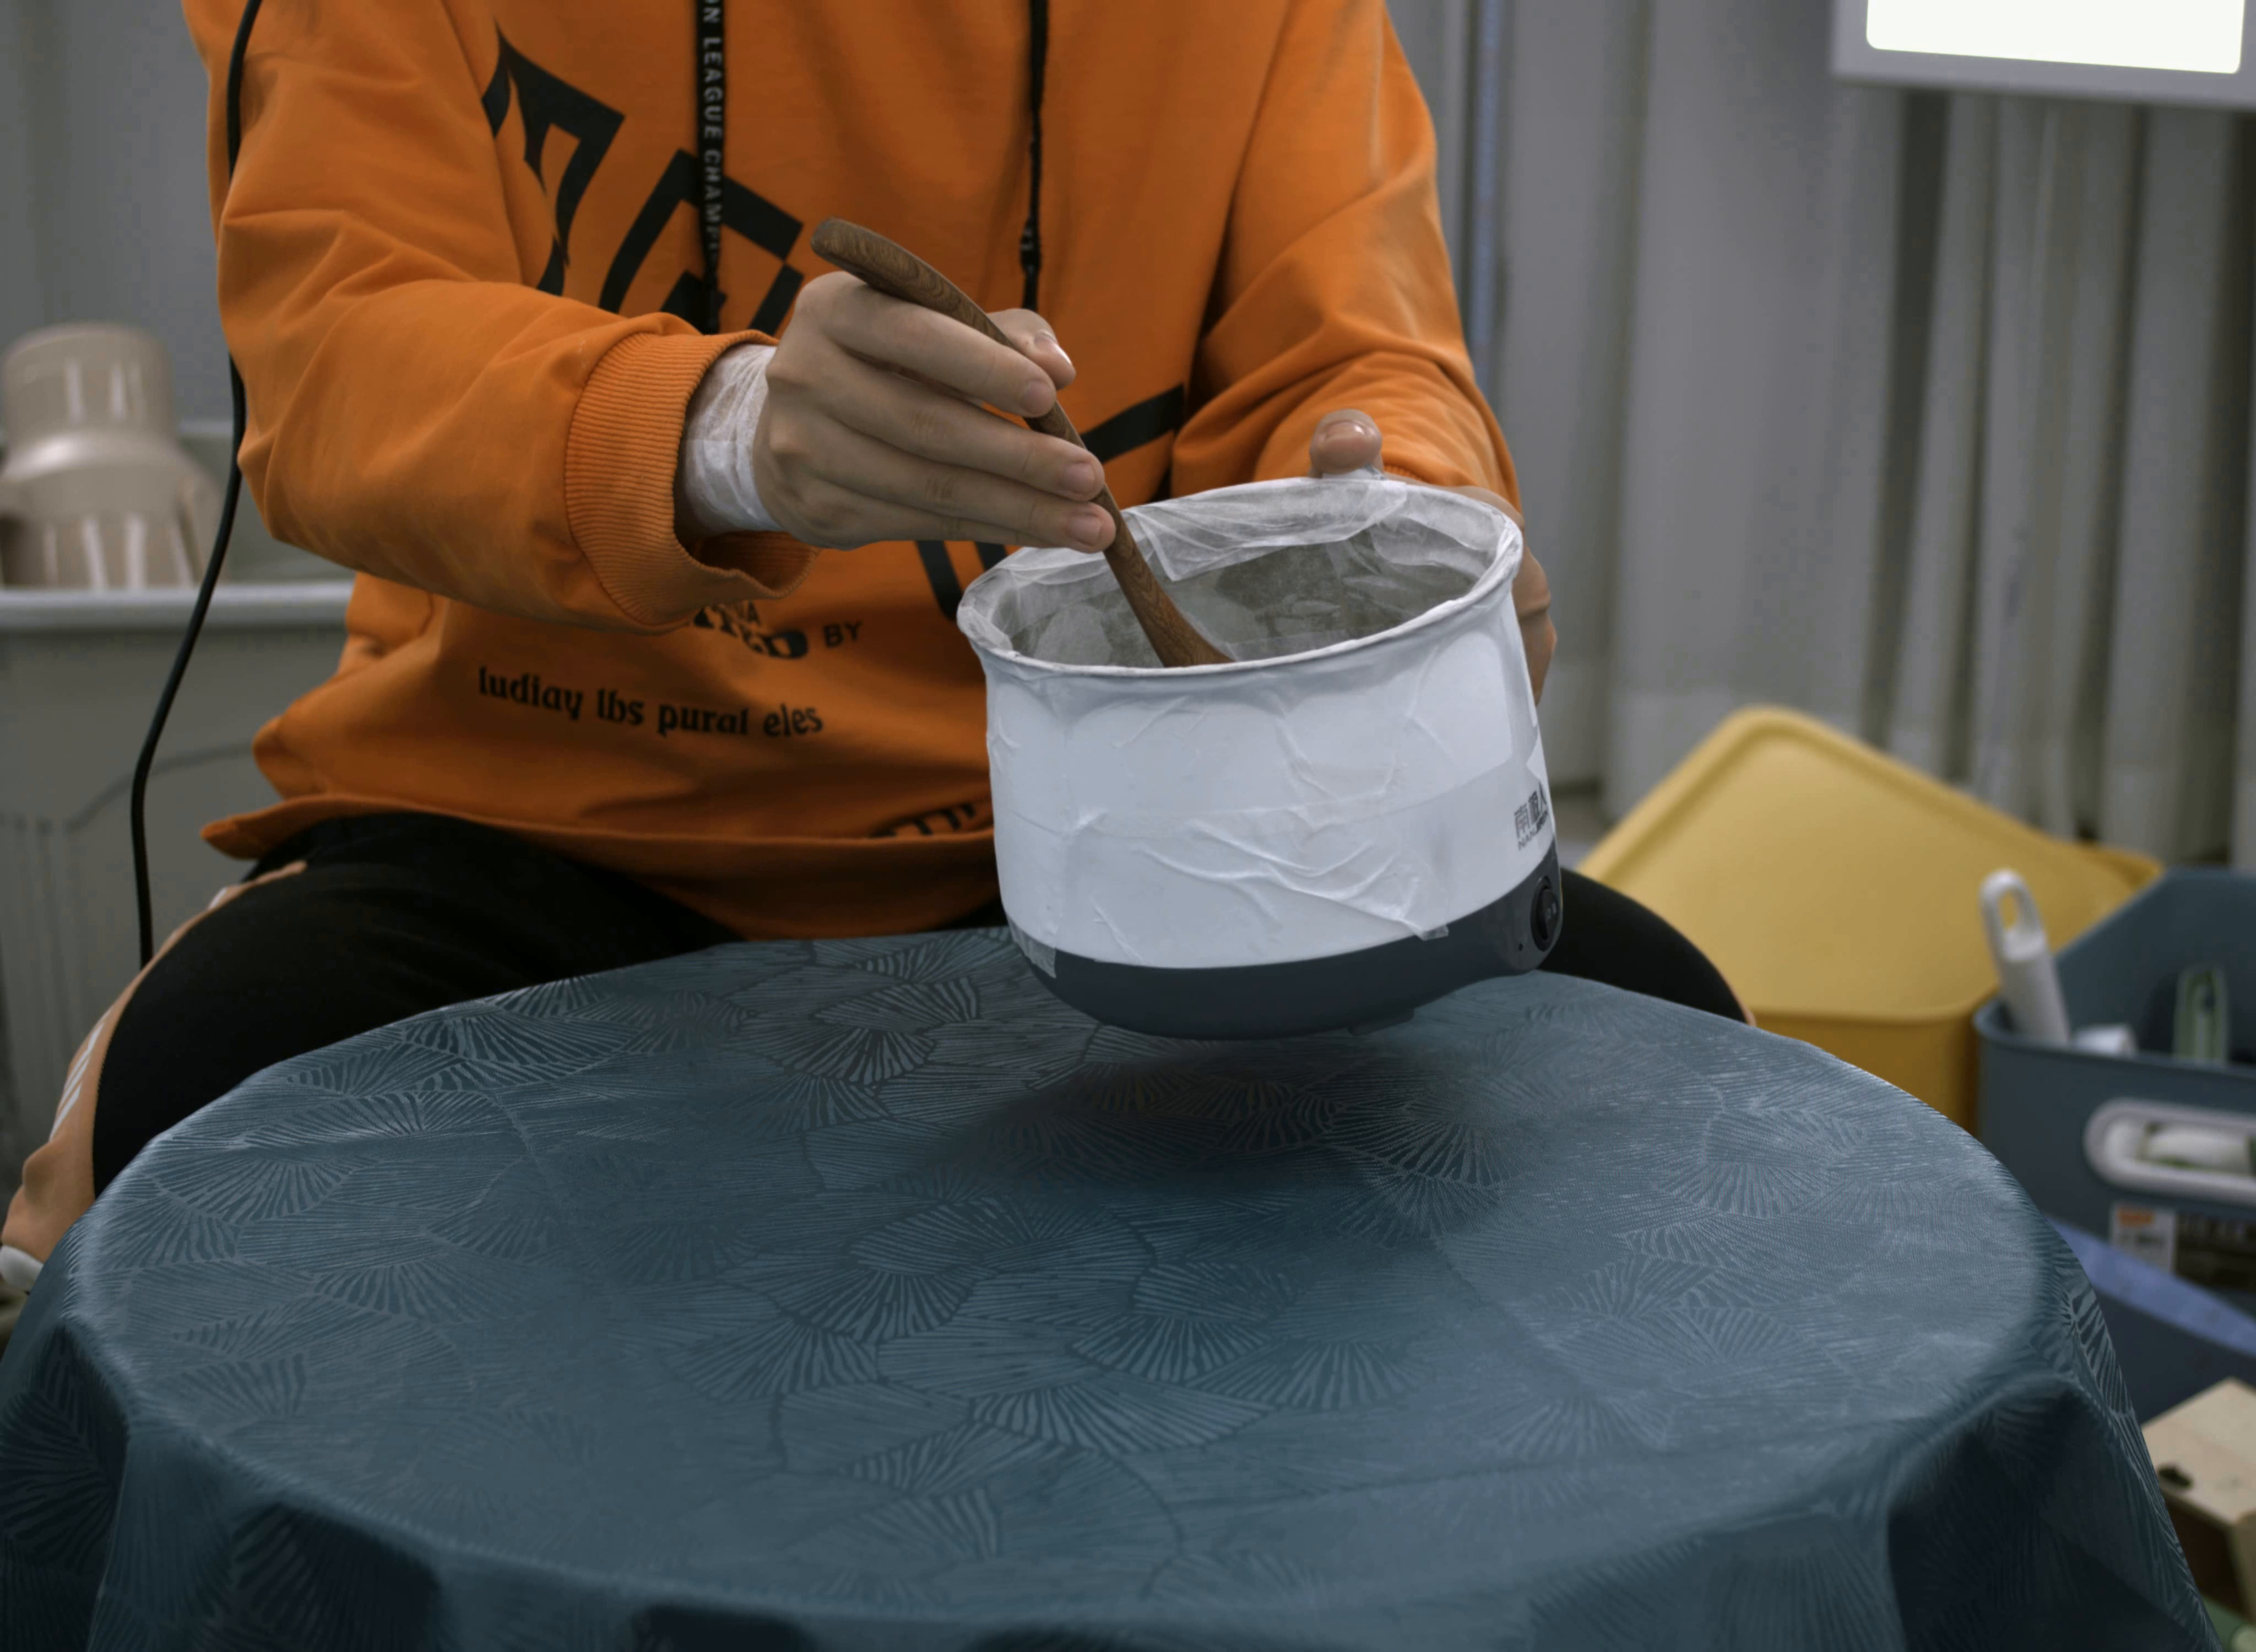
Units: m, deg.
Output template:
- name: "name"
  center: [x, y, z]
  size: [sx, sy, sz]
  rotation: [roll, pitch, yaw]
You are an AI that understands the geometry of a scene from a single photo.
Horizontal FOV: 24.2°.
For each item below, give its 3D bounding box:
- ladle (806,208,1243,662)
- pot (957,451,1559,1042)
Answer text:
- name: "ladle"
  center: [0.004, -0.106, 1.638]
  size: [0.065, 0.262, 0.076]
  rotation: [-44, 12, -16]
- name: "pot"
  center: [0.052, -0.031, 1.677]
  size: [0.177, 0.138, 0.233]
  rotation: [1, 23, 21]
